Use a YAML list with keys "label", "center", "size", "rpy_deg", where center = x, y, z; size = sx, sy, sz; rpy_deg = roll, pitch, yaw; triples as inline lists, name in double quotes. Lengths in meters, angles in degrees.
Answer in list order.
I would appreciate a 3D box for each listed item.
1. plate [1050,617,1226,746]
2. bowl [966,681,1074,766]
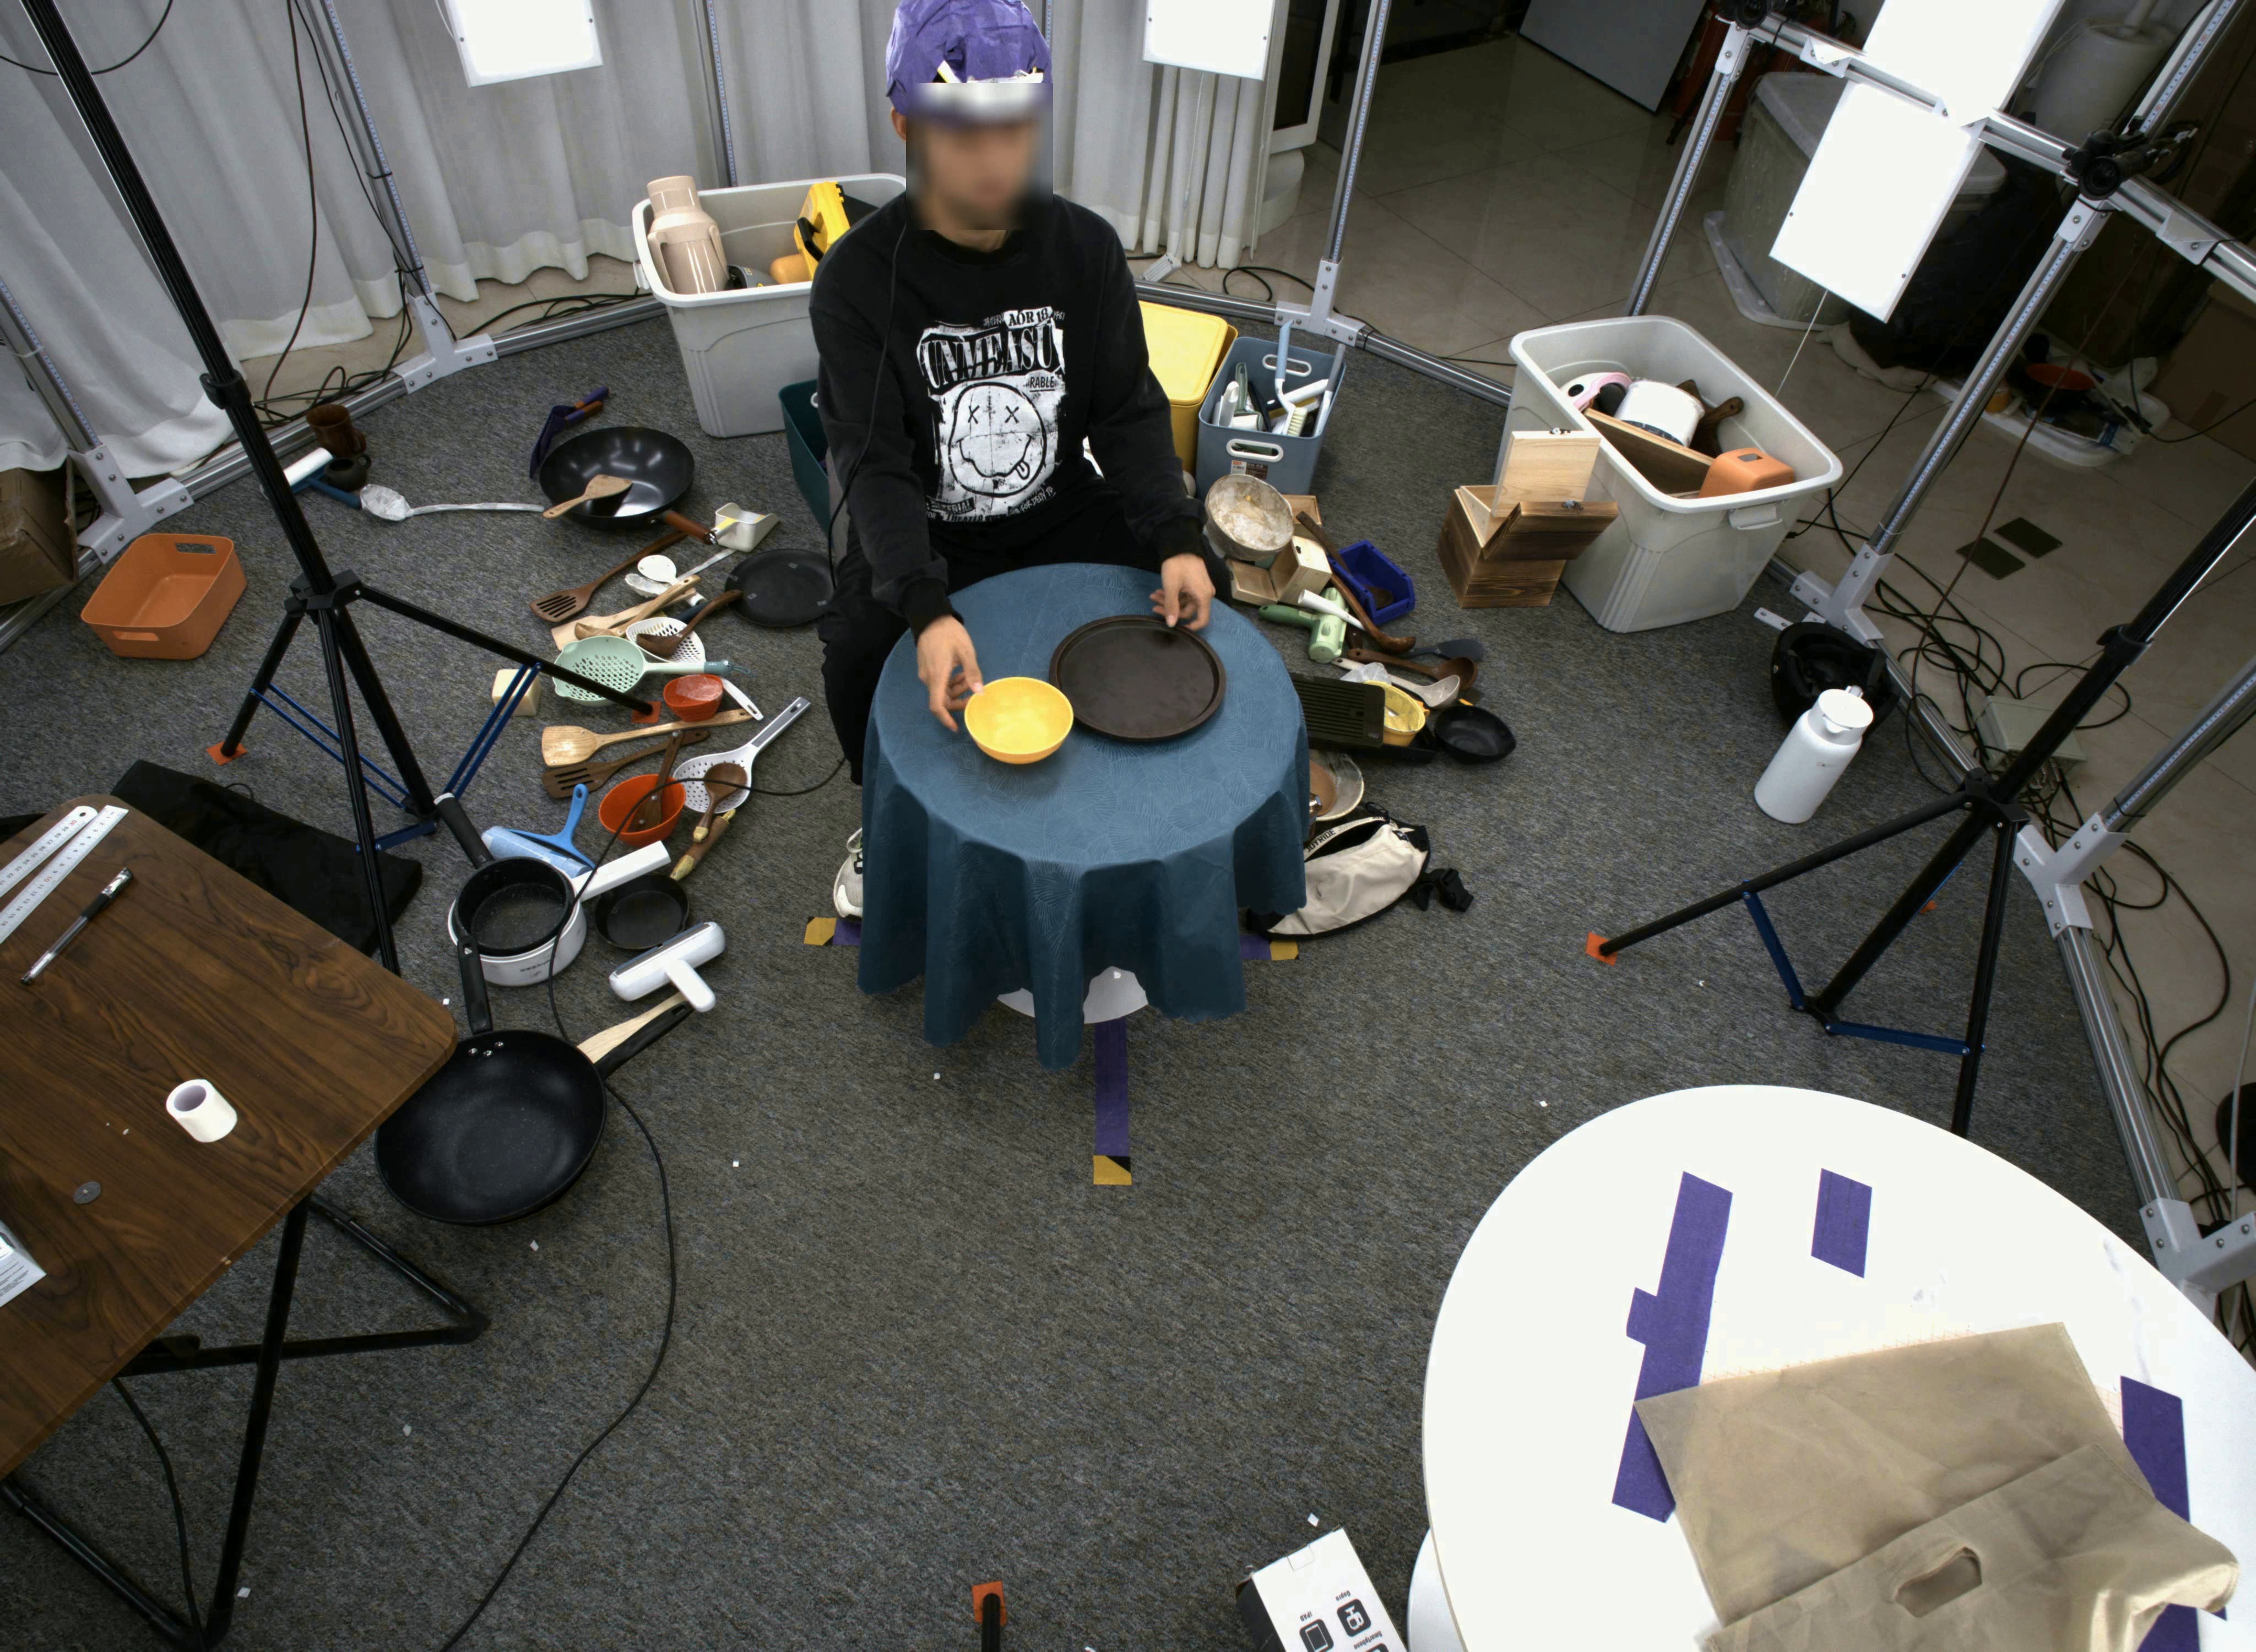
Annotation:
- label: "plate"
  center: [0.015, -0.210, 1.855]
  size: [0.254, 0.028, 0.261]
  rpy_deg: [1, 49, -1]
- label: "bowl"
  center: [-0.147, -0.128, 1.749]
  size: [0.145, 0.058, 0.149]
  rpy_deg: [3, 47, -3]
